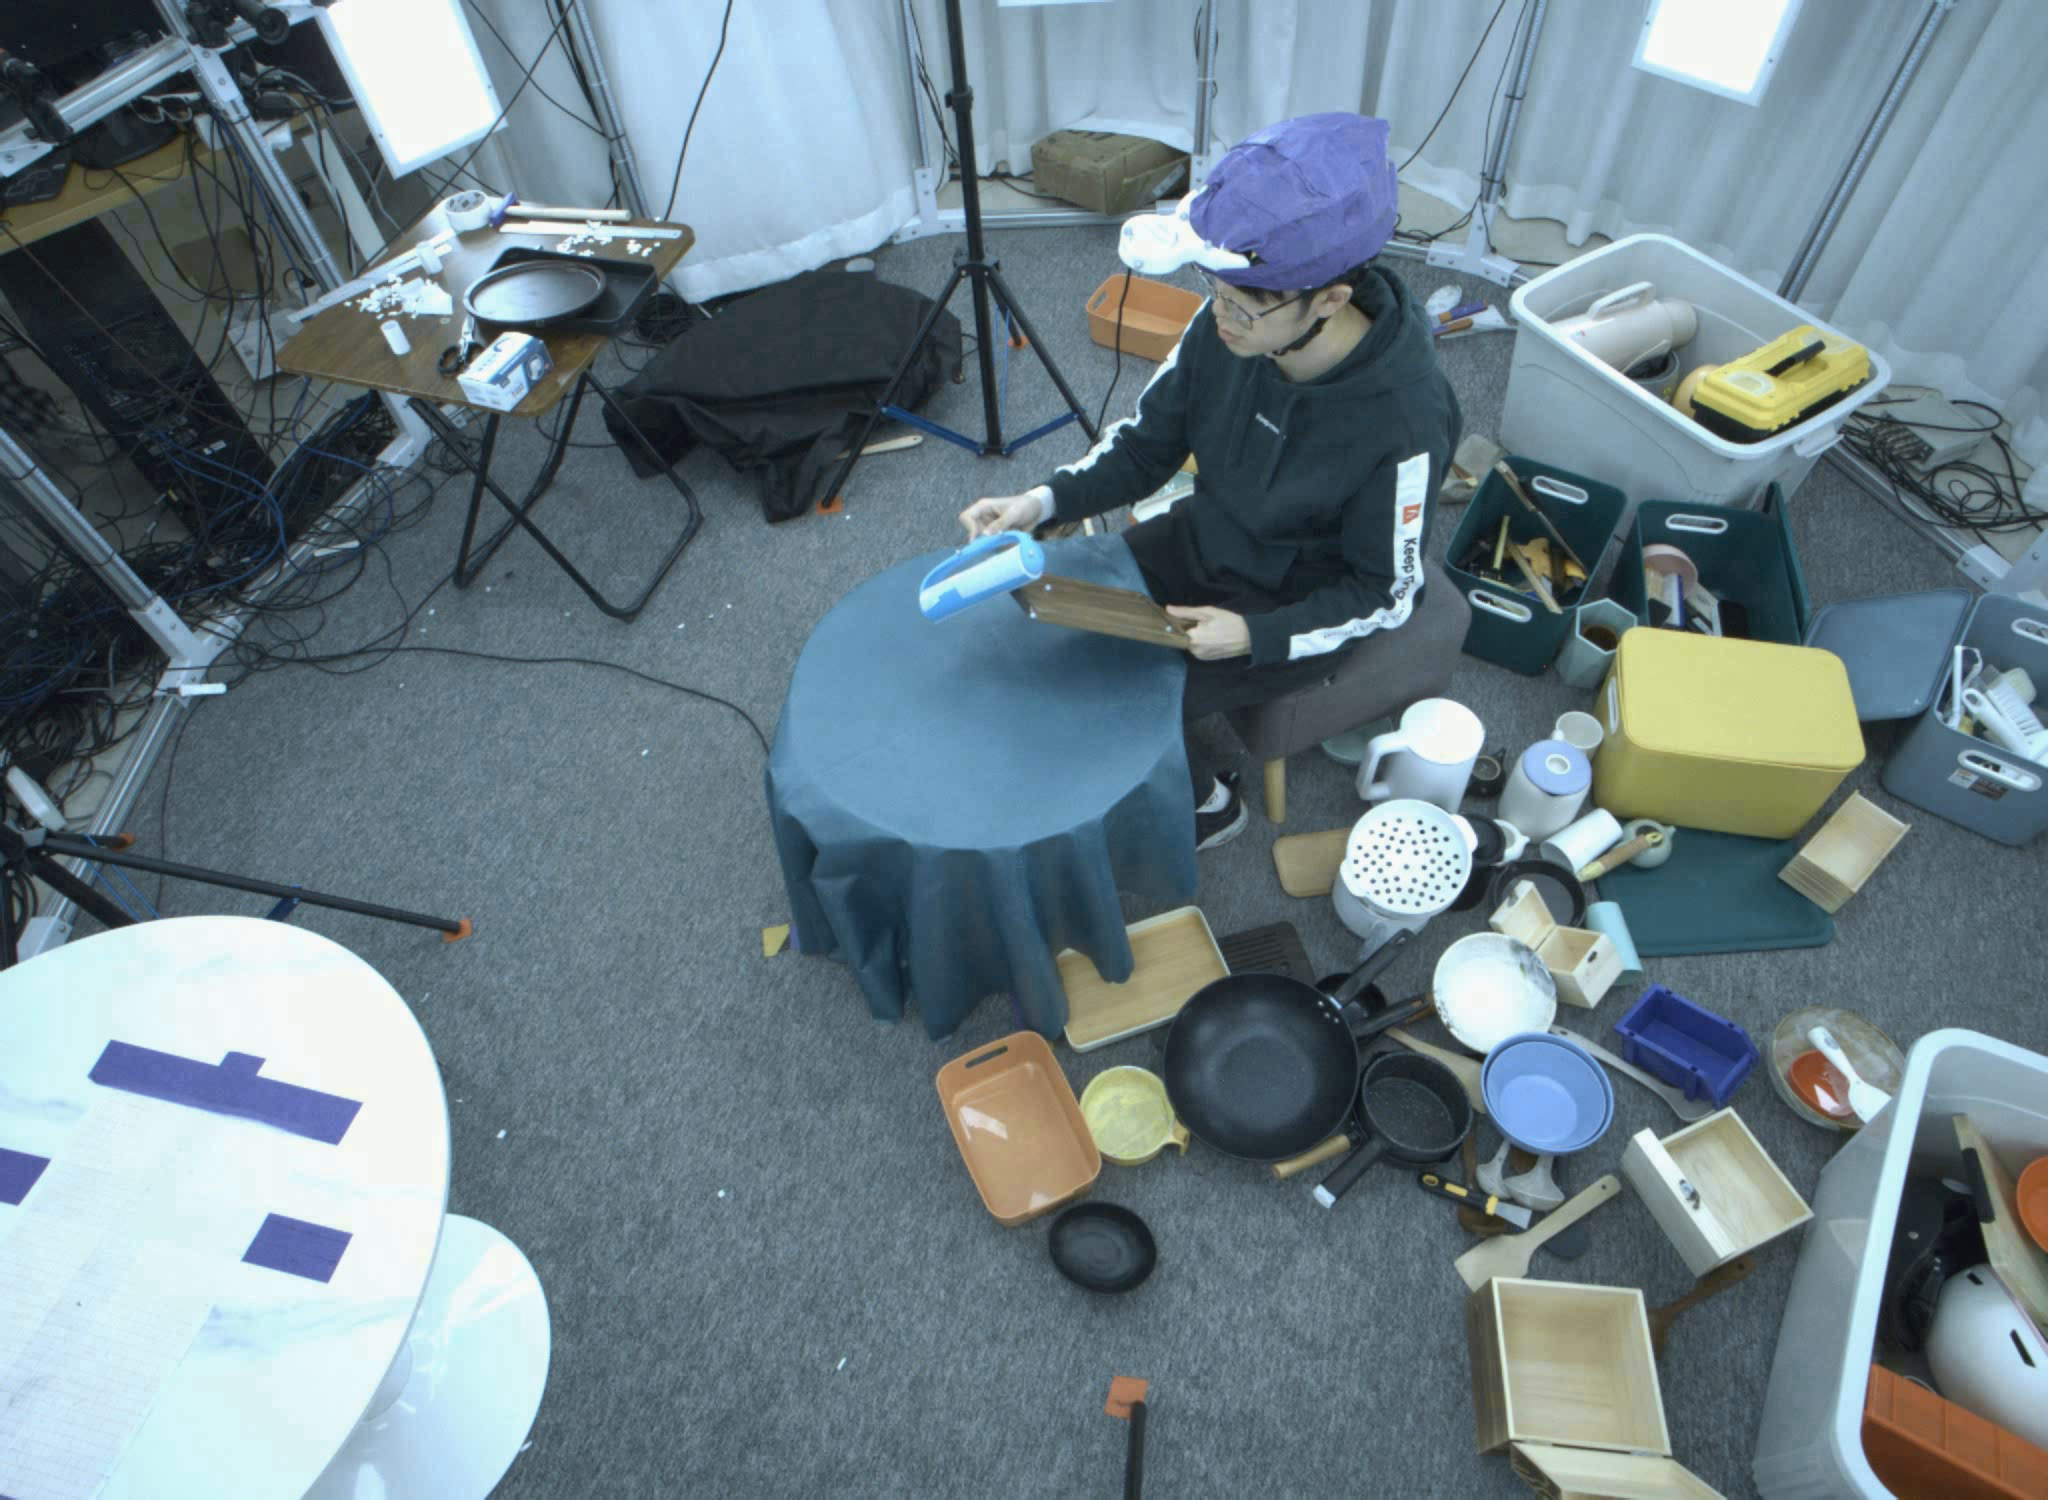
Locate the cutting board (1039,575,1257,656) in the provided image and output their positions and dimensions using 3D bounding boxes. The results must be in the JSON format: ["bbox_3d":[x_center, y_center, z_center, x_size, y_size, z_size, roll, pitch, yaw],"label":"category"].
[{"bbox_3d":[0.189,-0.196,1.806,0.358,0.023,0.197,9,25,-23],"label":"cutting board"}]

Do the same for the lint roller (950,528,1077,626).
[{"bbox_3d":[-0.005,-0.276,1.779,0.225,0.069,0.179,-21,38,36],"label":"lint roller"}]
